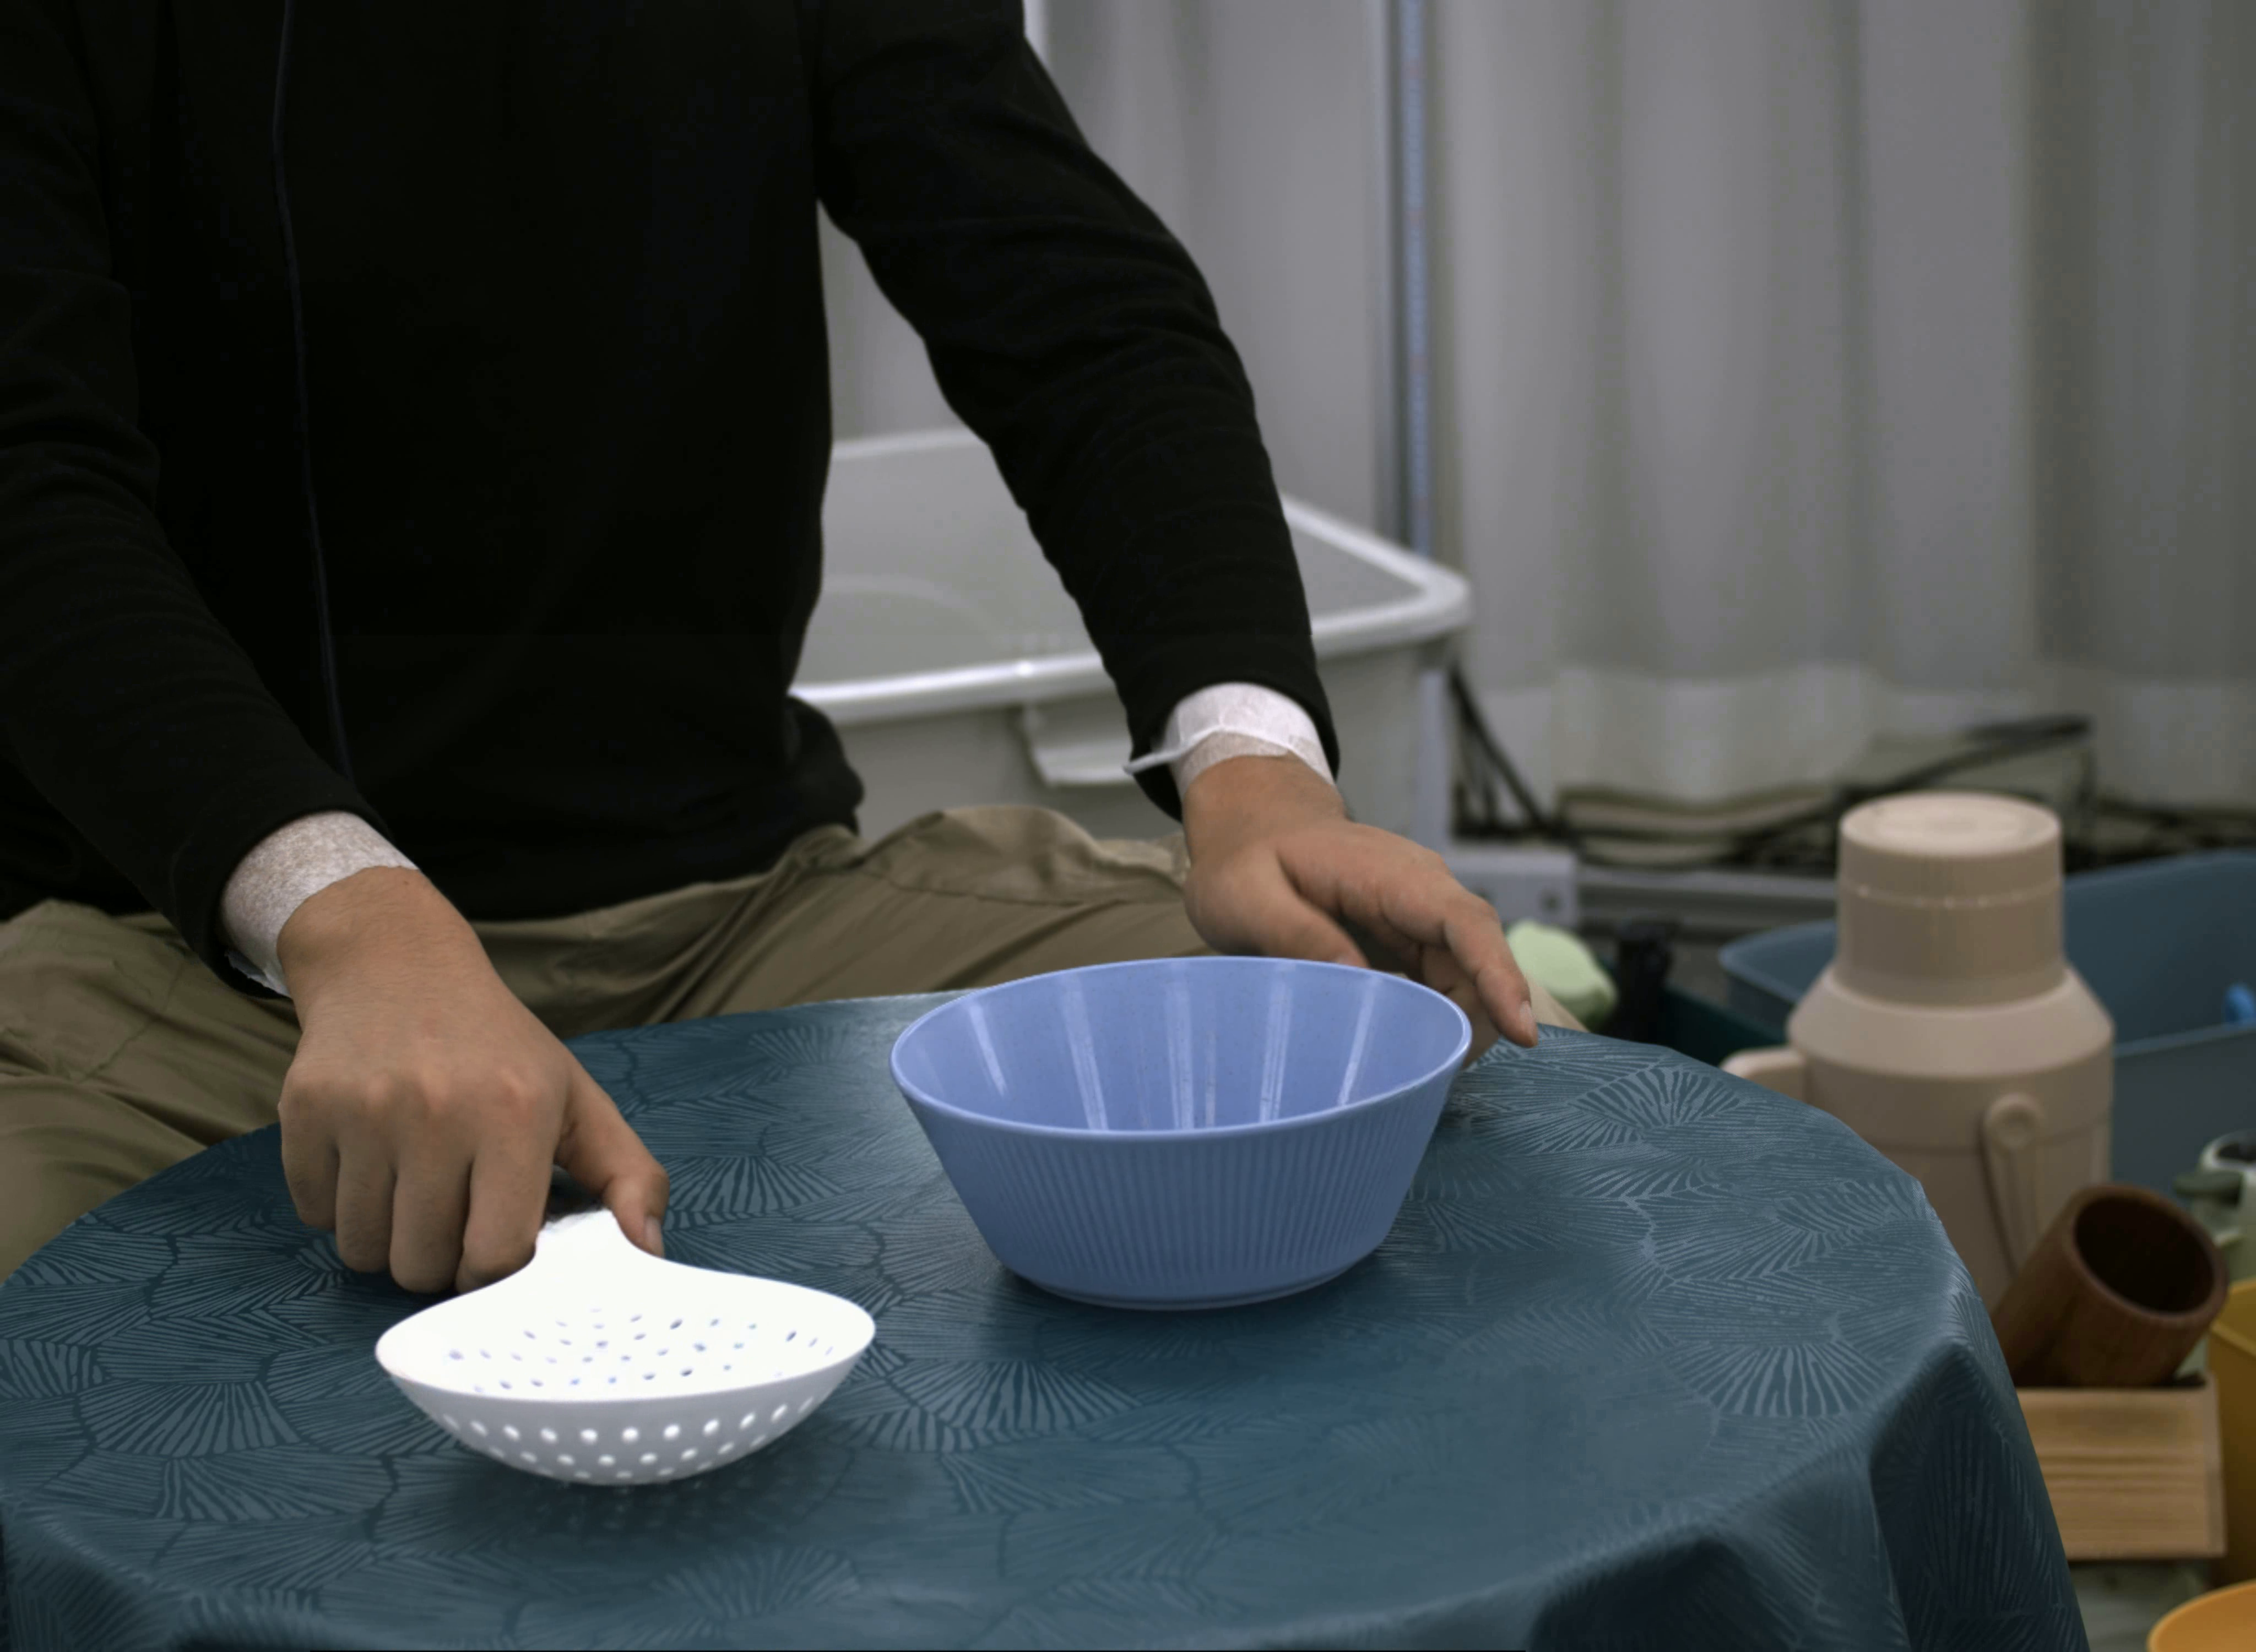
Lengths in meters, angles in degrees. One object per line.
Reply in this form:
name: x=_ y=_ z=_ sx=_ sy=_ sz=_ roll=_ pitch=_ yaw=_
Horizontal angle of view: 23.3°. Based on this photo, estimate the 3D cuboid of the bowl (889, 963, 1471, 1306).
bowl: x=0.017 y=0.095 z=1.649 sx=0.175 sy=0.070 sz=0.177 roll=-3 pitch=14 yaw=1

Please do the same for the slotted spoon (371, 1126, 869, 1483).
slotted spoon: x=-0.159 y=0.130 z=1.599 sx=0.135 sy=0.045 sz=0.352 roll=-5 pitch=14 yaw=-11
